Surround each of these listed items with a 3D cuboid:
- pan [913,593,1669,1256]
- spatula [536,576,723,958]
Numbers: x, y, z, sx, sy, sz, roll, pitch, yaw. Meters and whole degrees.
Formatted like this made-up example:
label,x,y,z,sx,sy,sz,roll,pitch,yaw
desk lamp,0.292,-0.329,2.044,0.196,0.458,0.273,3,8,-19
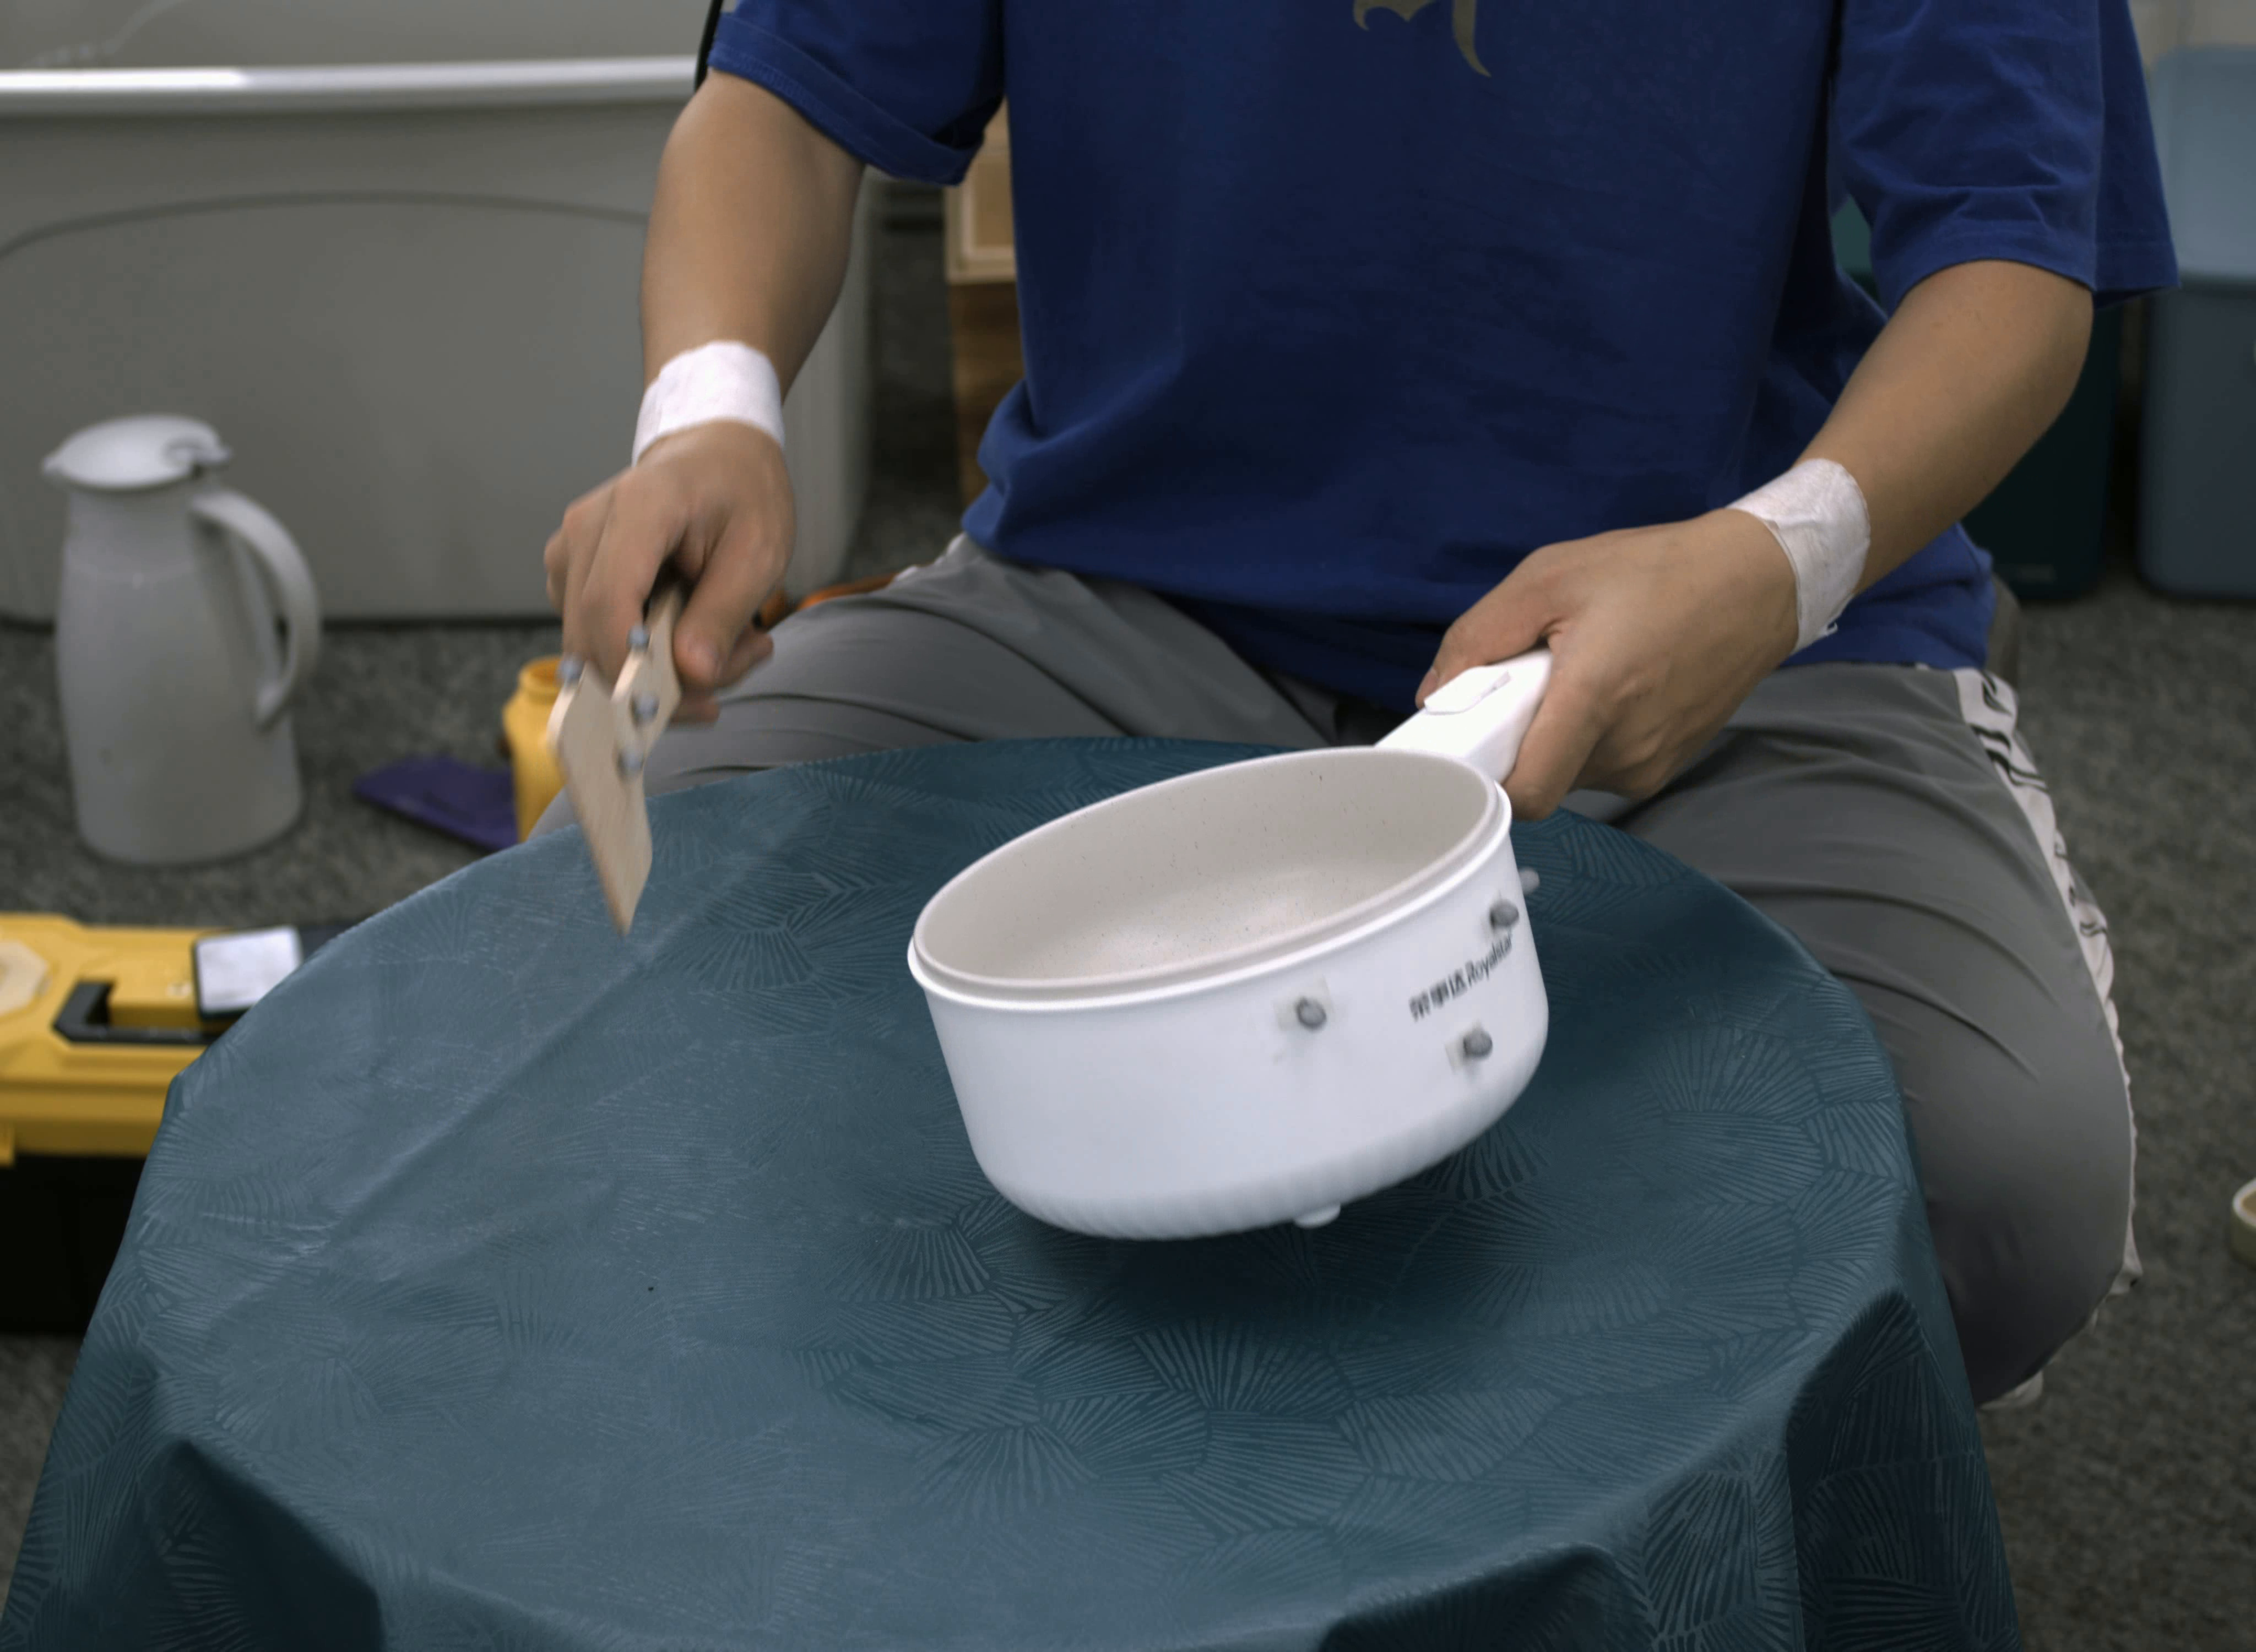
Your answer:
label,x,y,z,sx,sy,sz,roll,pitch,yaw
pan,0.082,0.031,1.882,0.199,0.101,0.360,-3,21,38
spatula,-0.166,-0.035,1.920,0.010,0.072,0.296,-19,16,10
